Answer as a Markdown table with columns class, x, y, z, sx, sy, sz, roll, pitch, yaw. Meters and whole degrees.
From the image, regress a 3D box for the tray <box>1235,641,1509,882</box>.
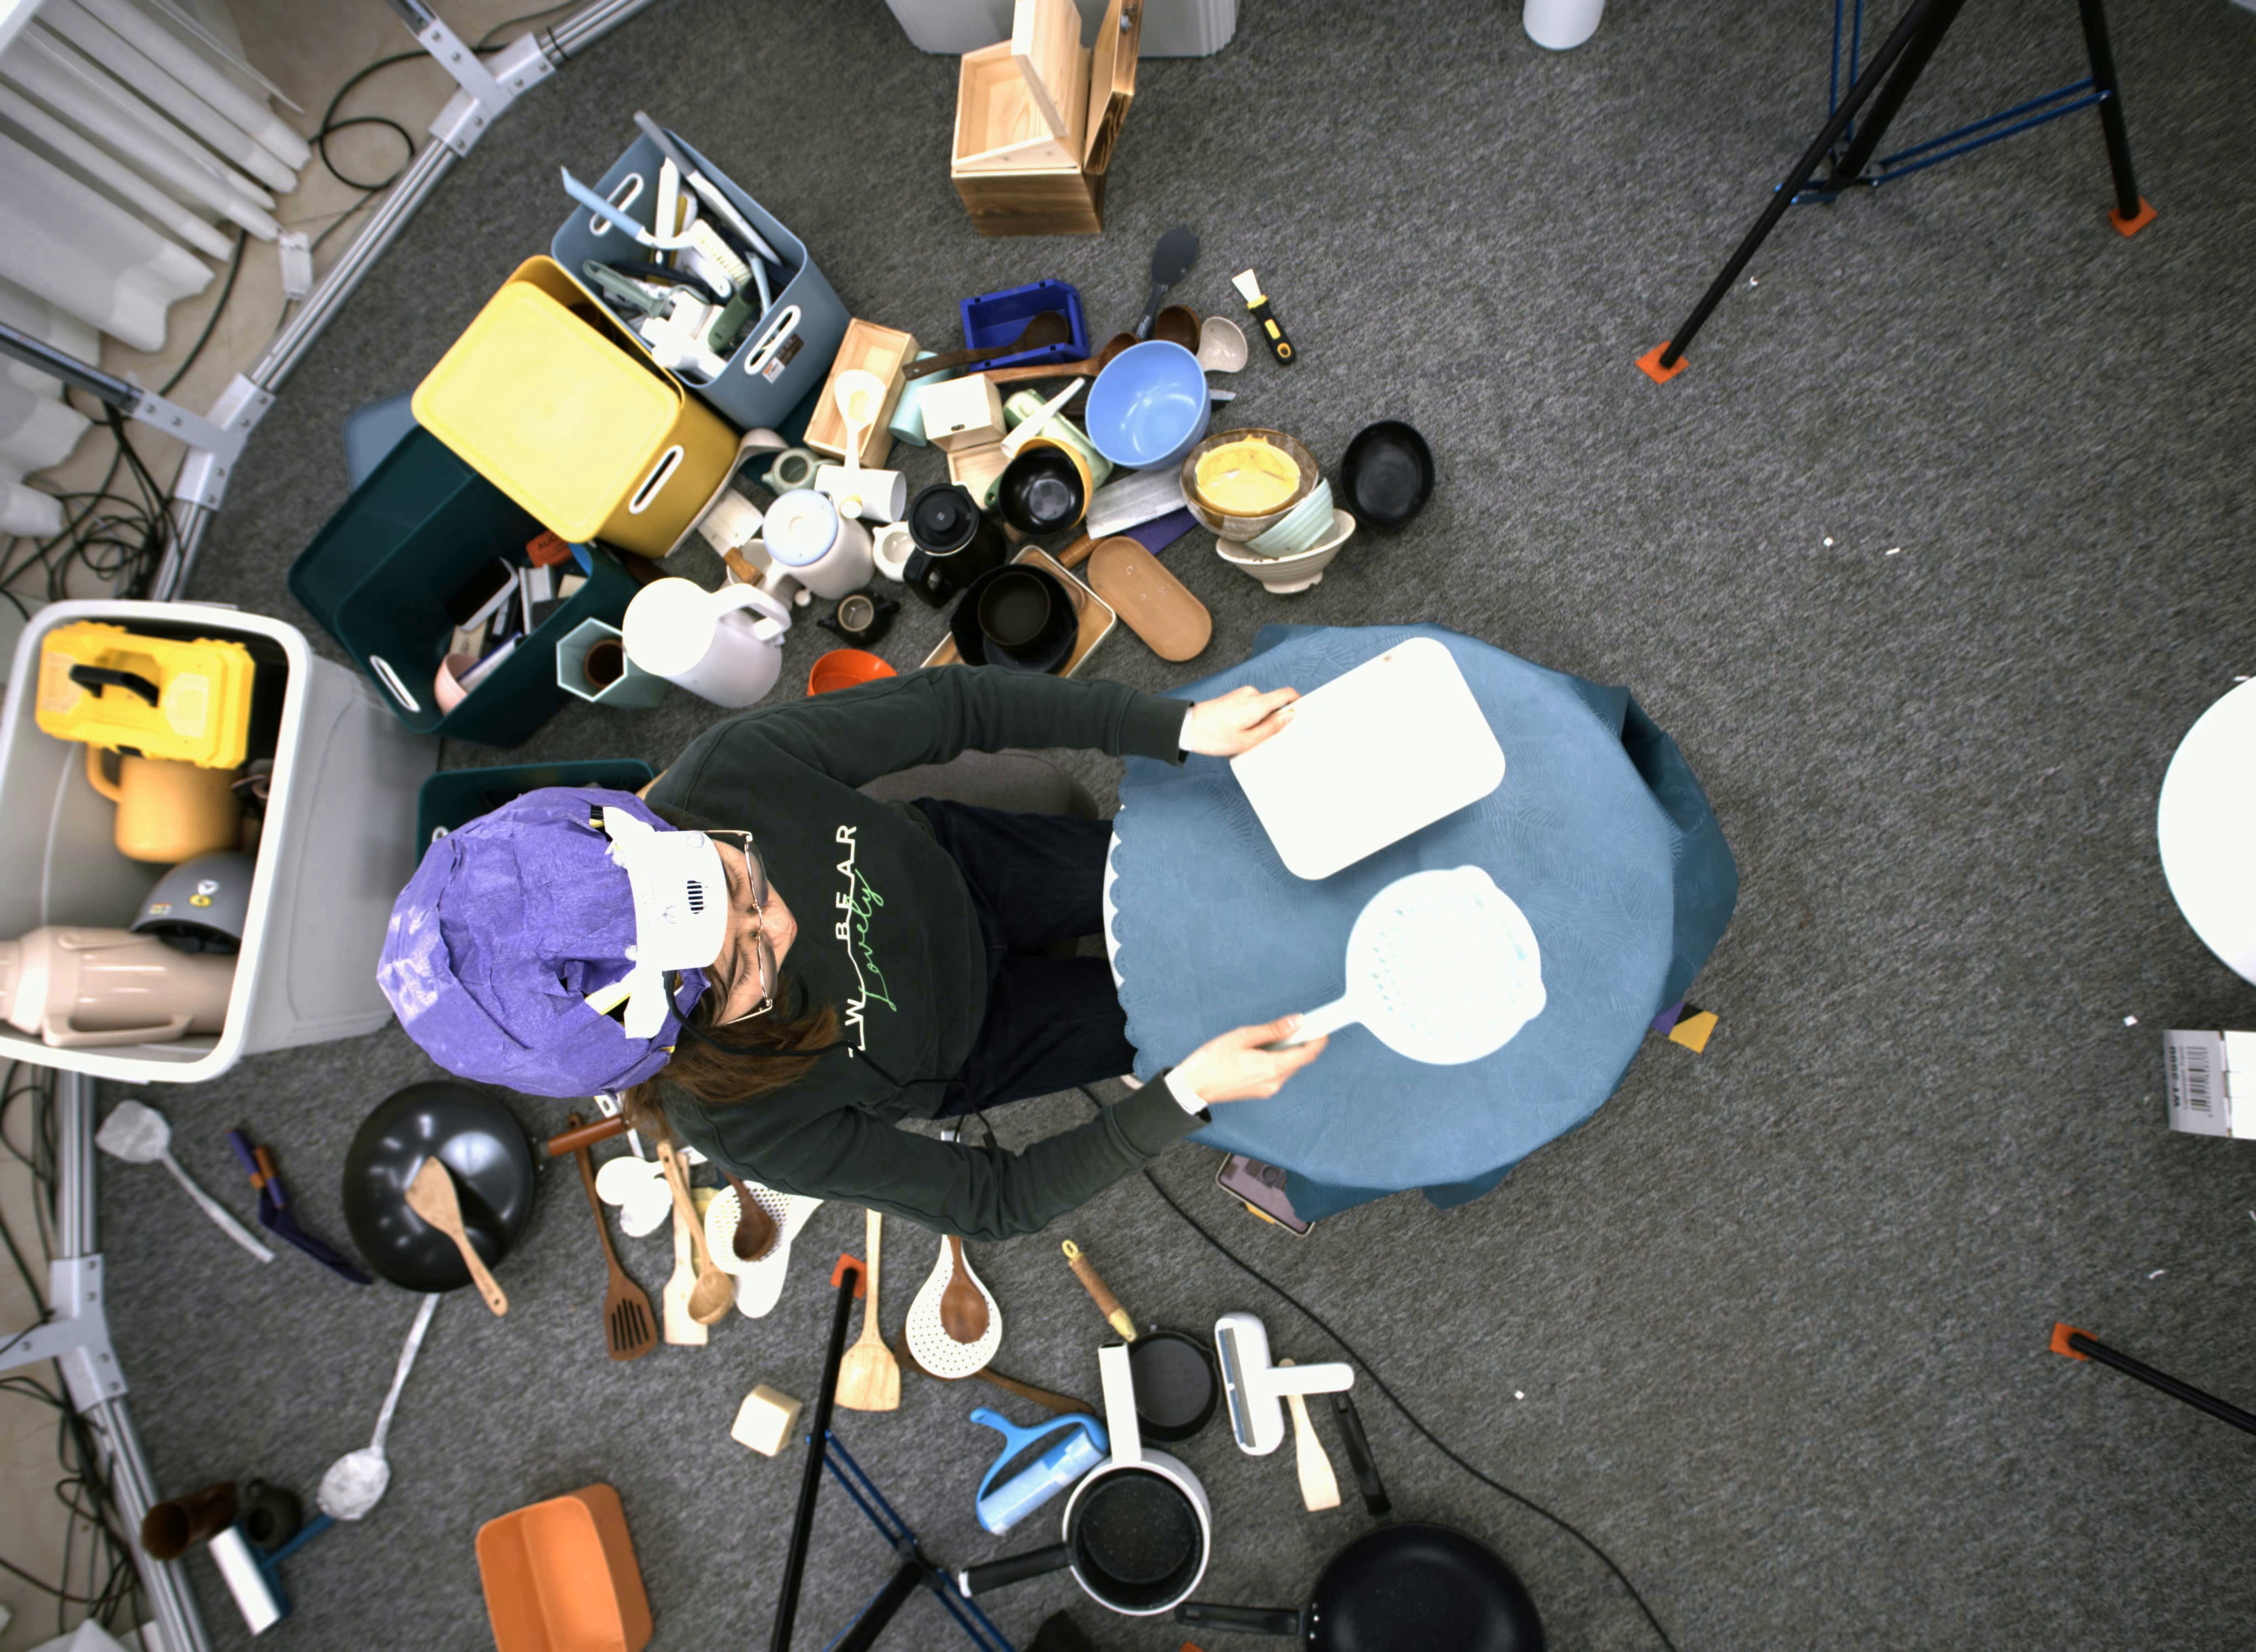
| class | x | y | z | sx | sy | sz | roll | pitch | yaw |
| --- | --- | --- | --- | --- | --- | --- | --- | --- | --- |
| tray | 0.239 | -0.063 | 1.360 | 0.242 | 0.017 | 0.172 | -28 | 98 | 15 |

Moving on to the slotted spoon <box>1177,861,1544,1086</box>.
| class | x | y | z | sx | sy | sz | roll | pitch | yaw |
| --- | --- | --- | --- | --- | --- | --- | --- | --- | --- |
| slotted spoon | 0.202 | 0.164 | 1.279 | 0.361 | 0.075 | 0.168 | -26 | 80 | 10 |
